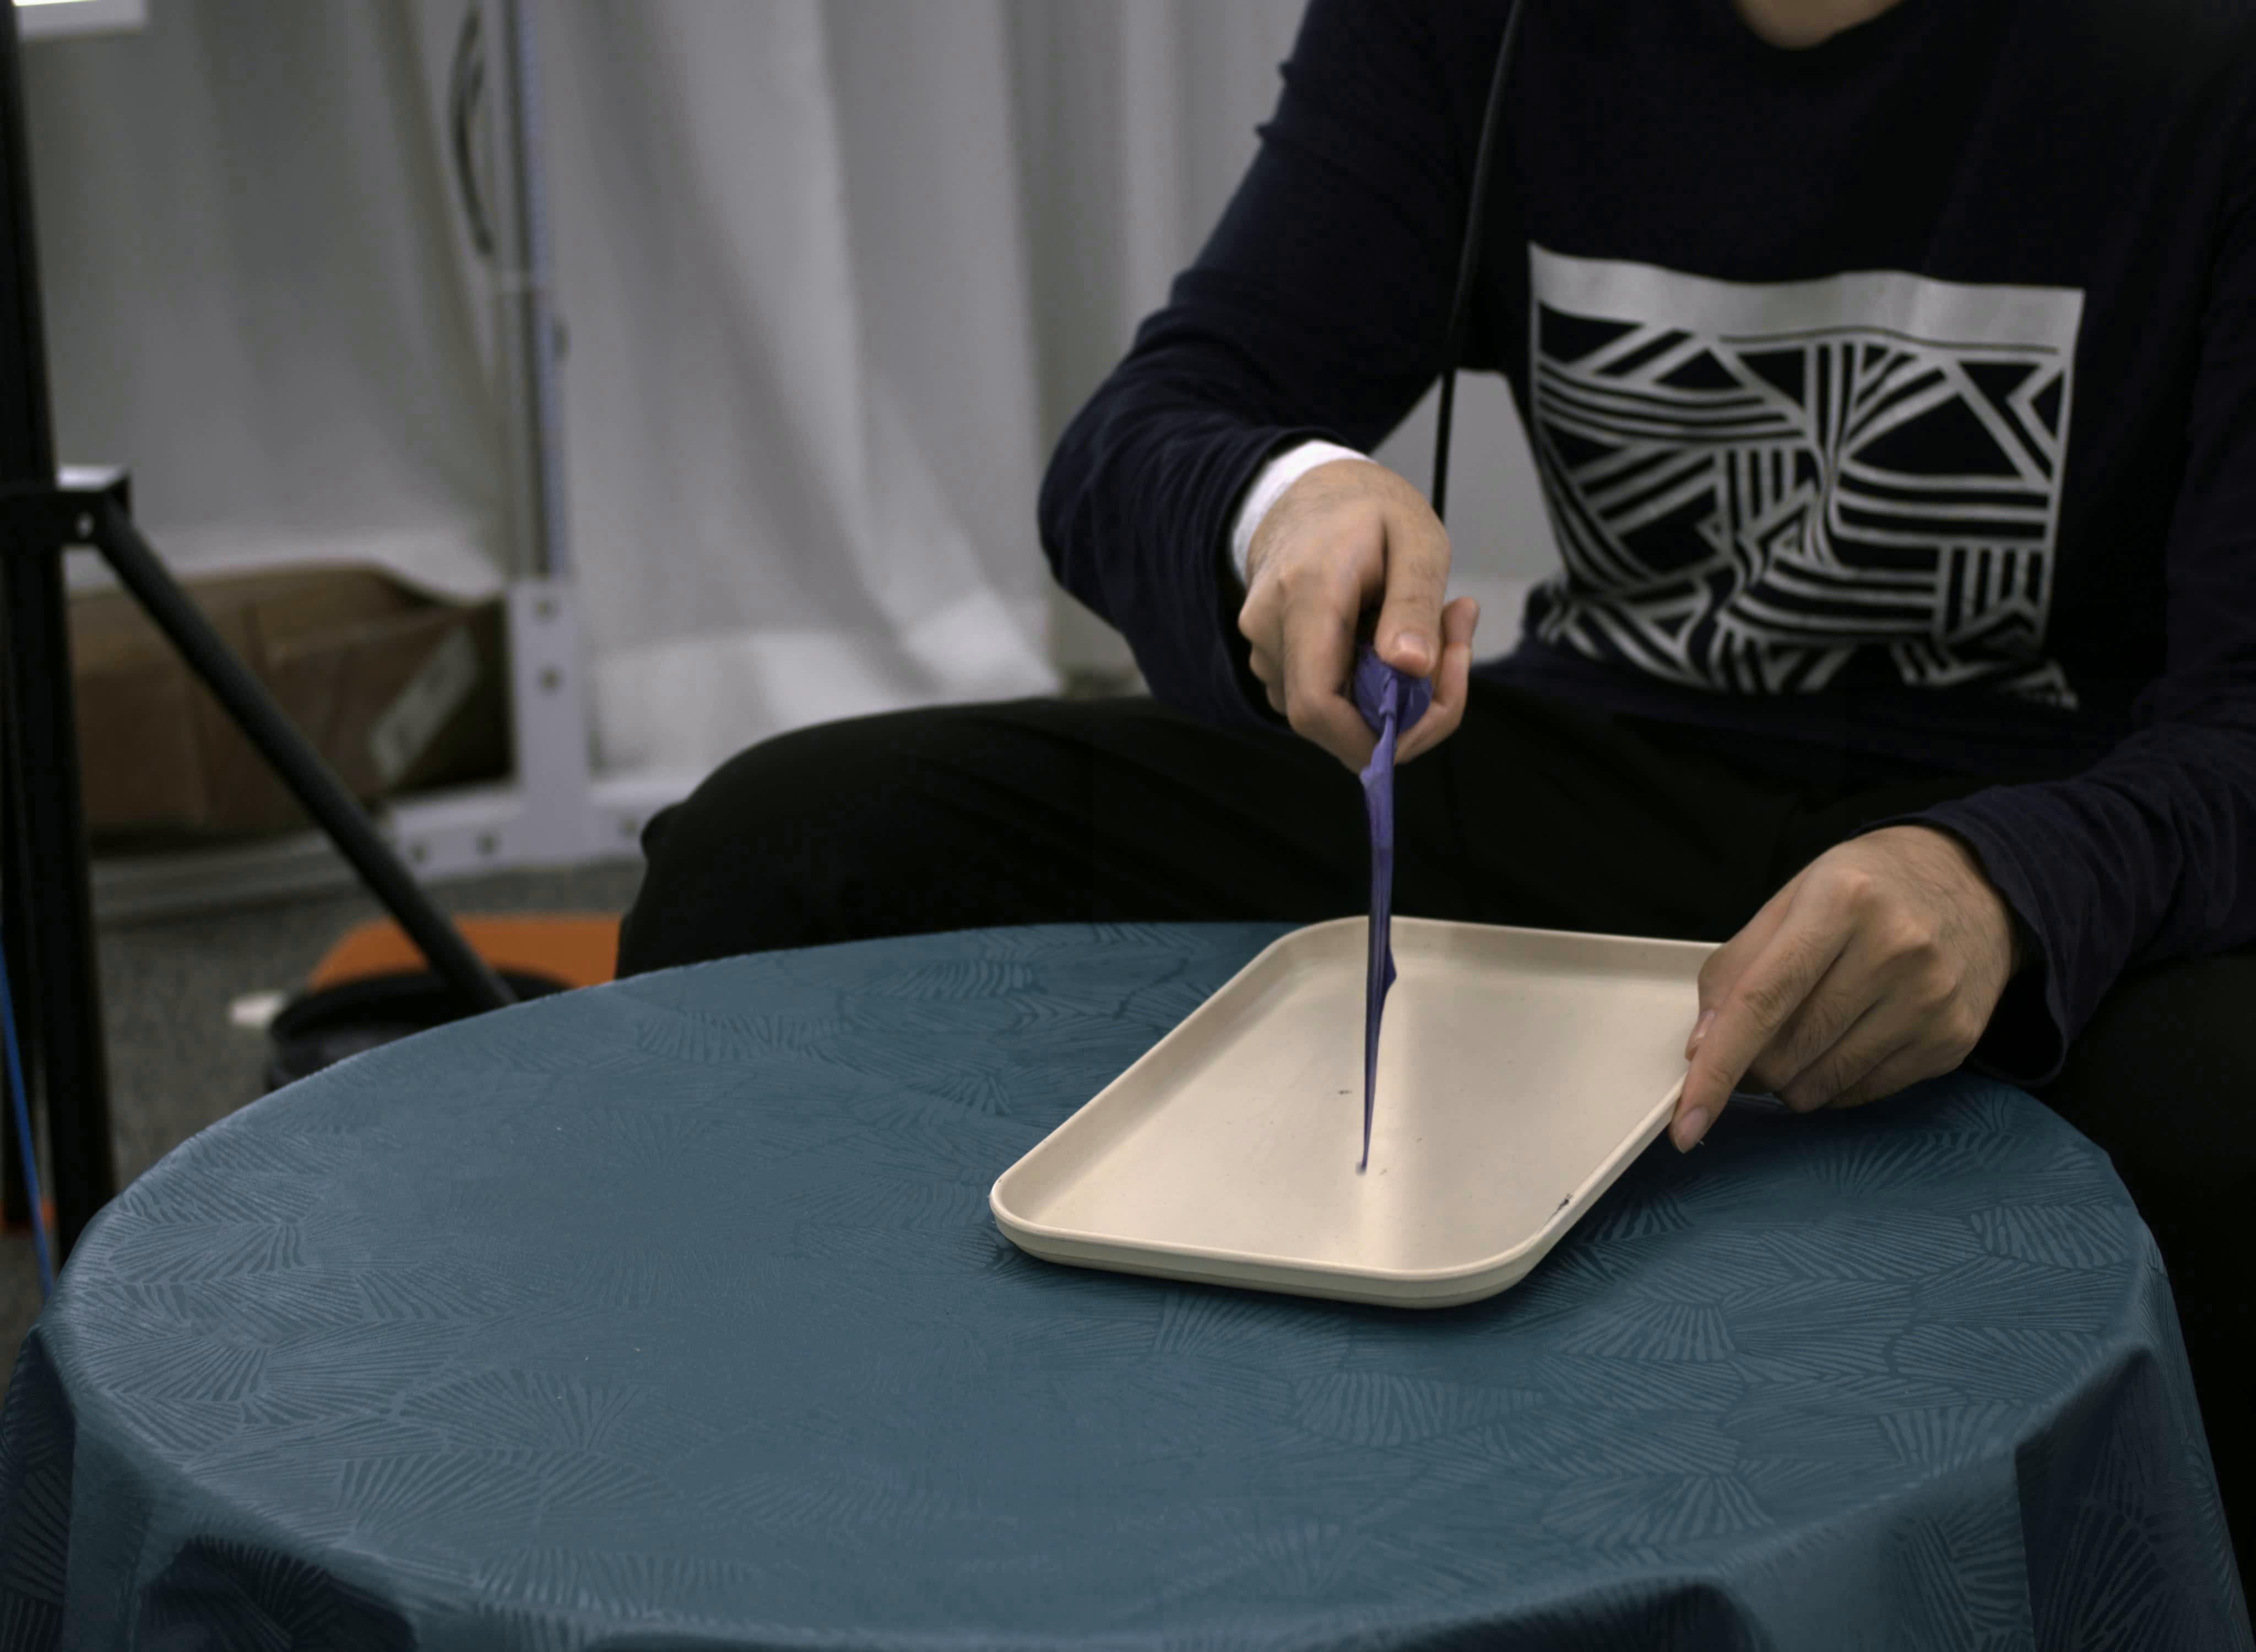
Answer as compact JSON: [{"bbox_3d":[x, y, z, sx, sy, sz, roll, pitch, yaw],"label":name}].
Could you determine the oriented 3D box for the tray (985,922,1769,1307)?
[{"bbox_3d":[0.077,0.083,1.563,0.174,0.017,0.236,3,23,29],"label":"tray"}]

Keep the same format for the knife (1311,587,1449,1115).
[{"bbox_3d":[0.073,0.004,1.600,0.032,0.104,0.314,4,16,5],"label":"knife"}]
